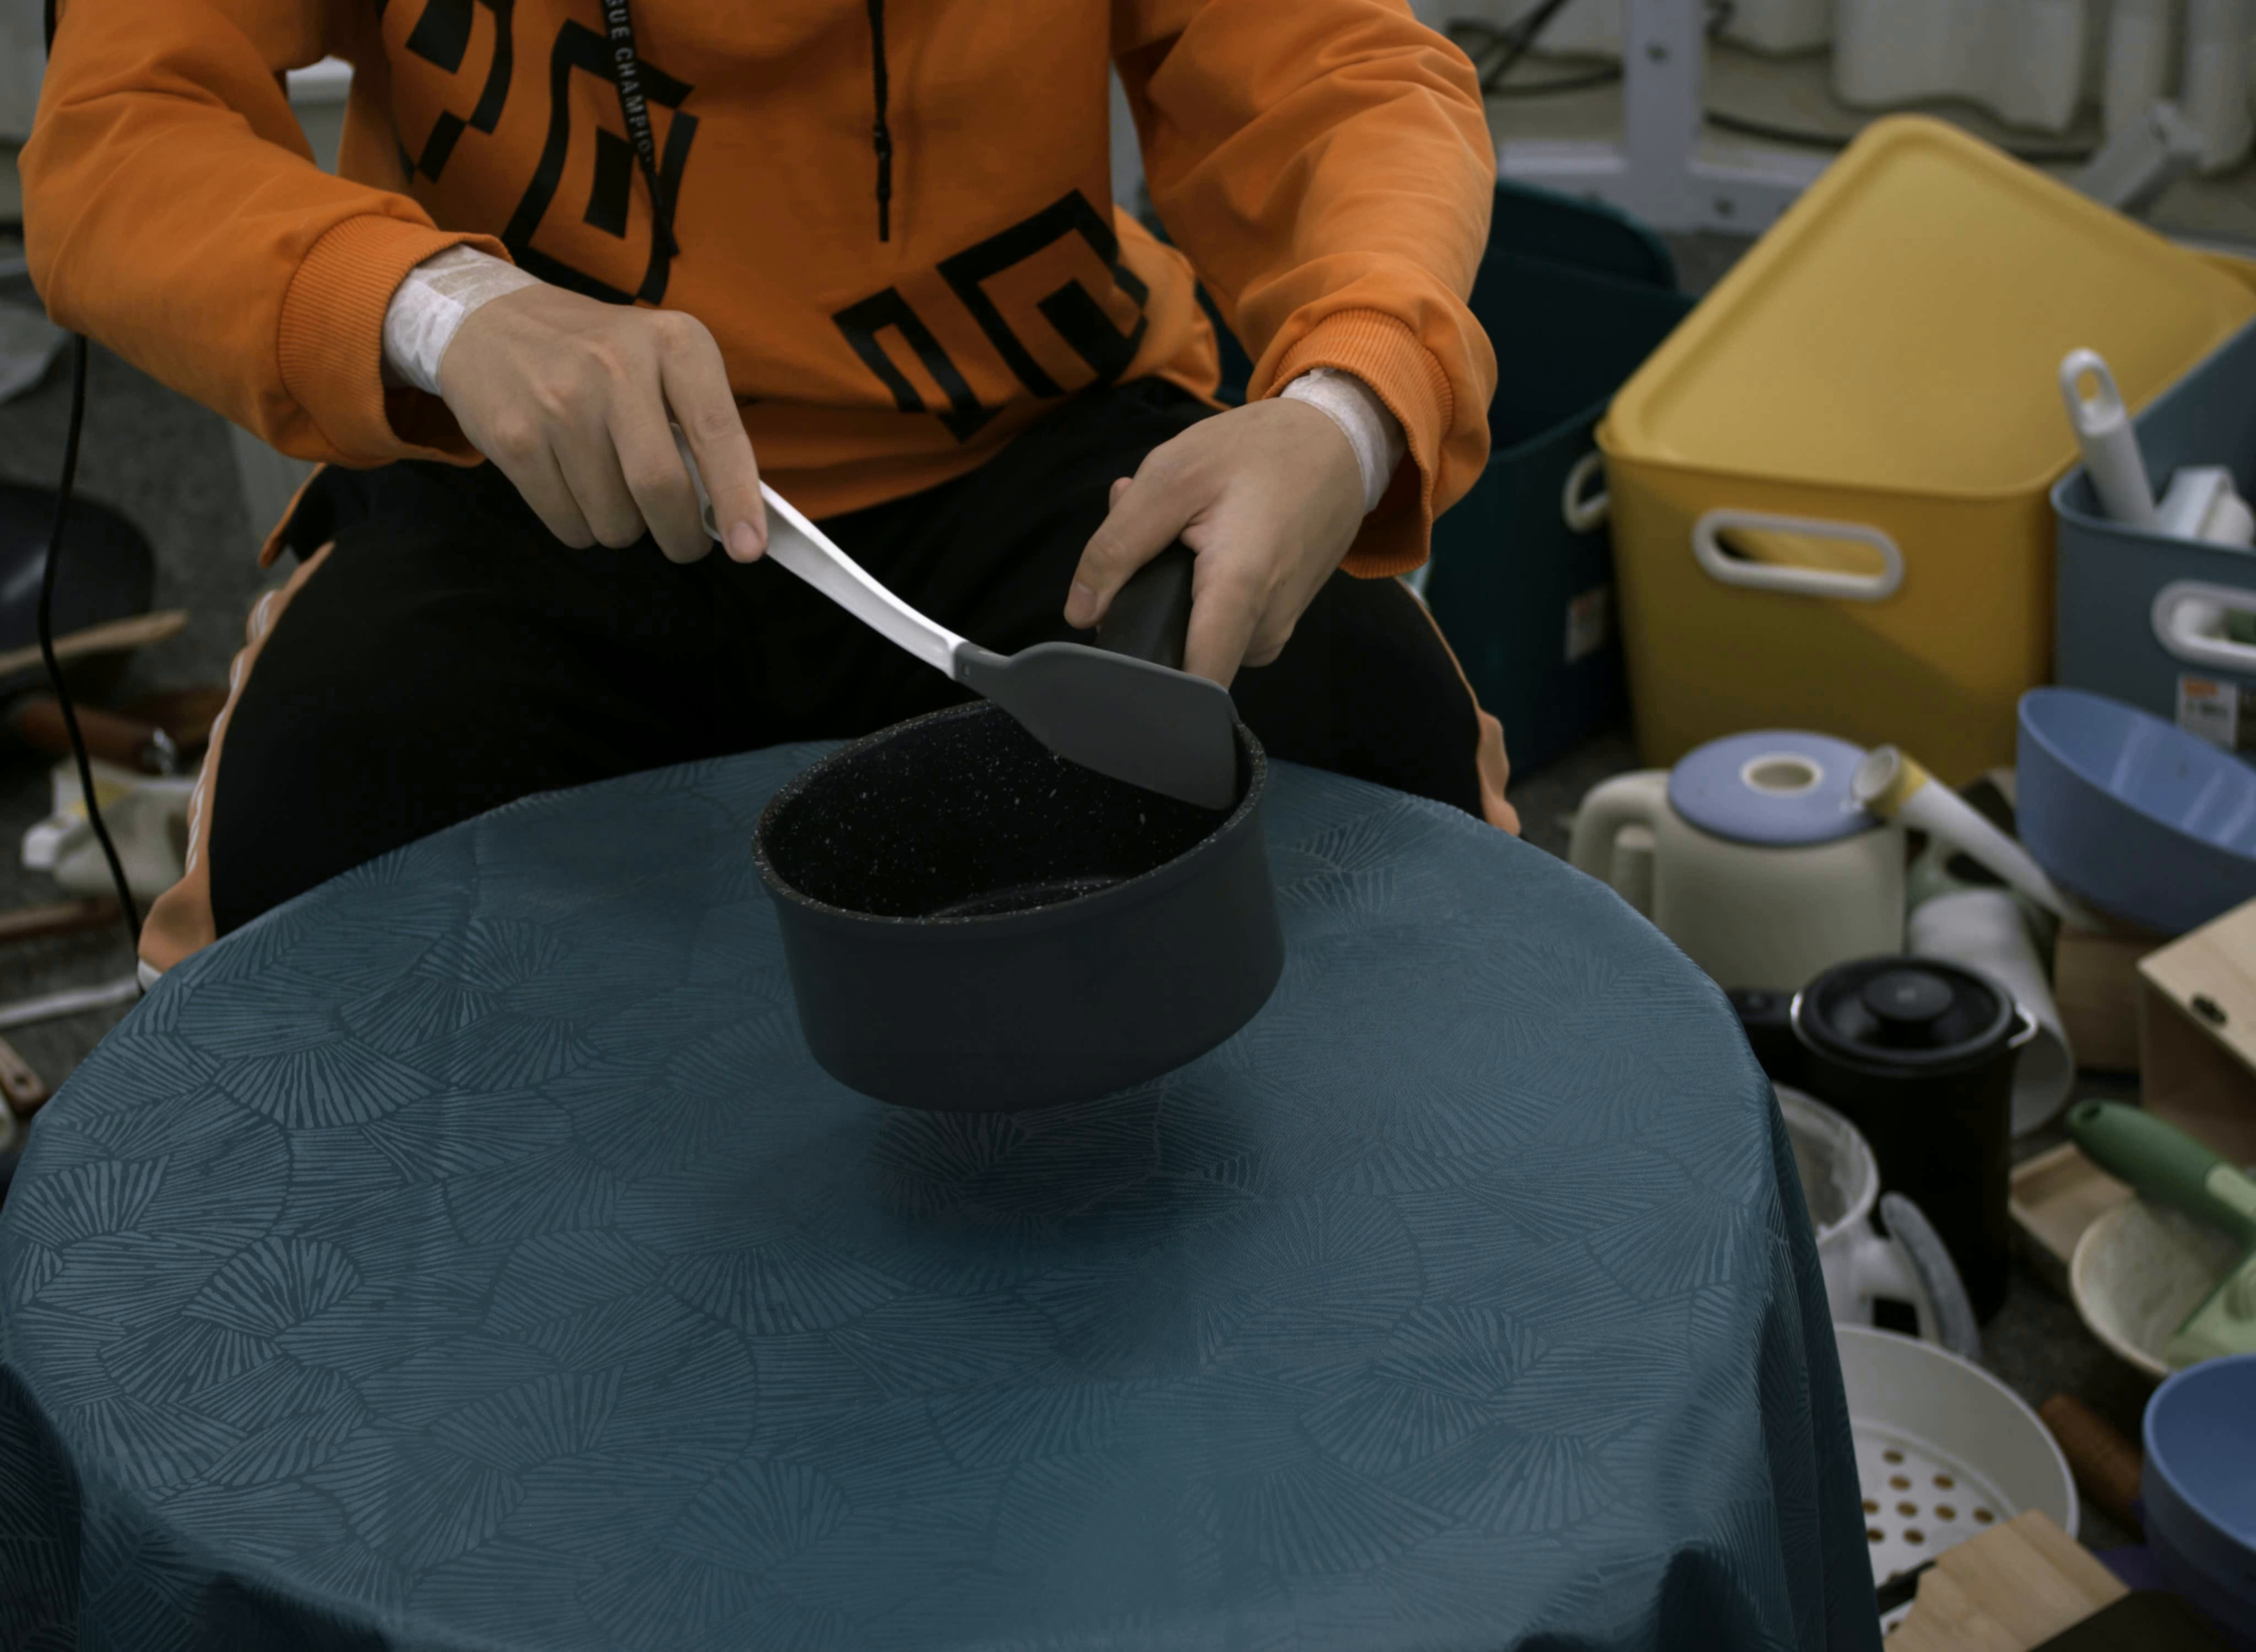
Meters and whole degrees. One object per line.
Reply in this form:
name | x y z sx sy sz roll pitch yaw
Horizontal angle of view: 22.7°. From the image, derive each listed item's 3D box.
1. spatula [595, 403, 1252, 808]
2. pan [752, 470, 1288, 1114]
spatula | -0.072 -0.077 1.915 0.287 0.058 0.032 28 40 32
pan | -0.009 -0.015 1.916 0.170 0.085 0.334 1 28 20
